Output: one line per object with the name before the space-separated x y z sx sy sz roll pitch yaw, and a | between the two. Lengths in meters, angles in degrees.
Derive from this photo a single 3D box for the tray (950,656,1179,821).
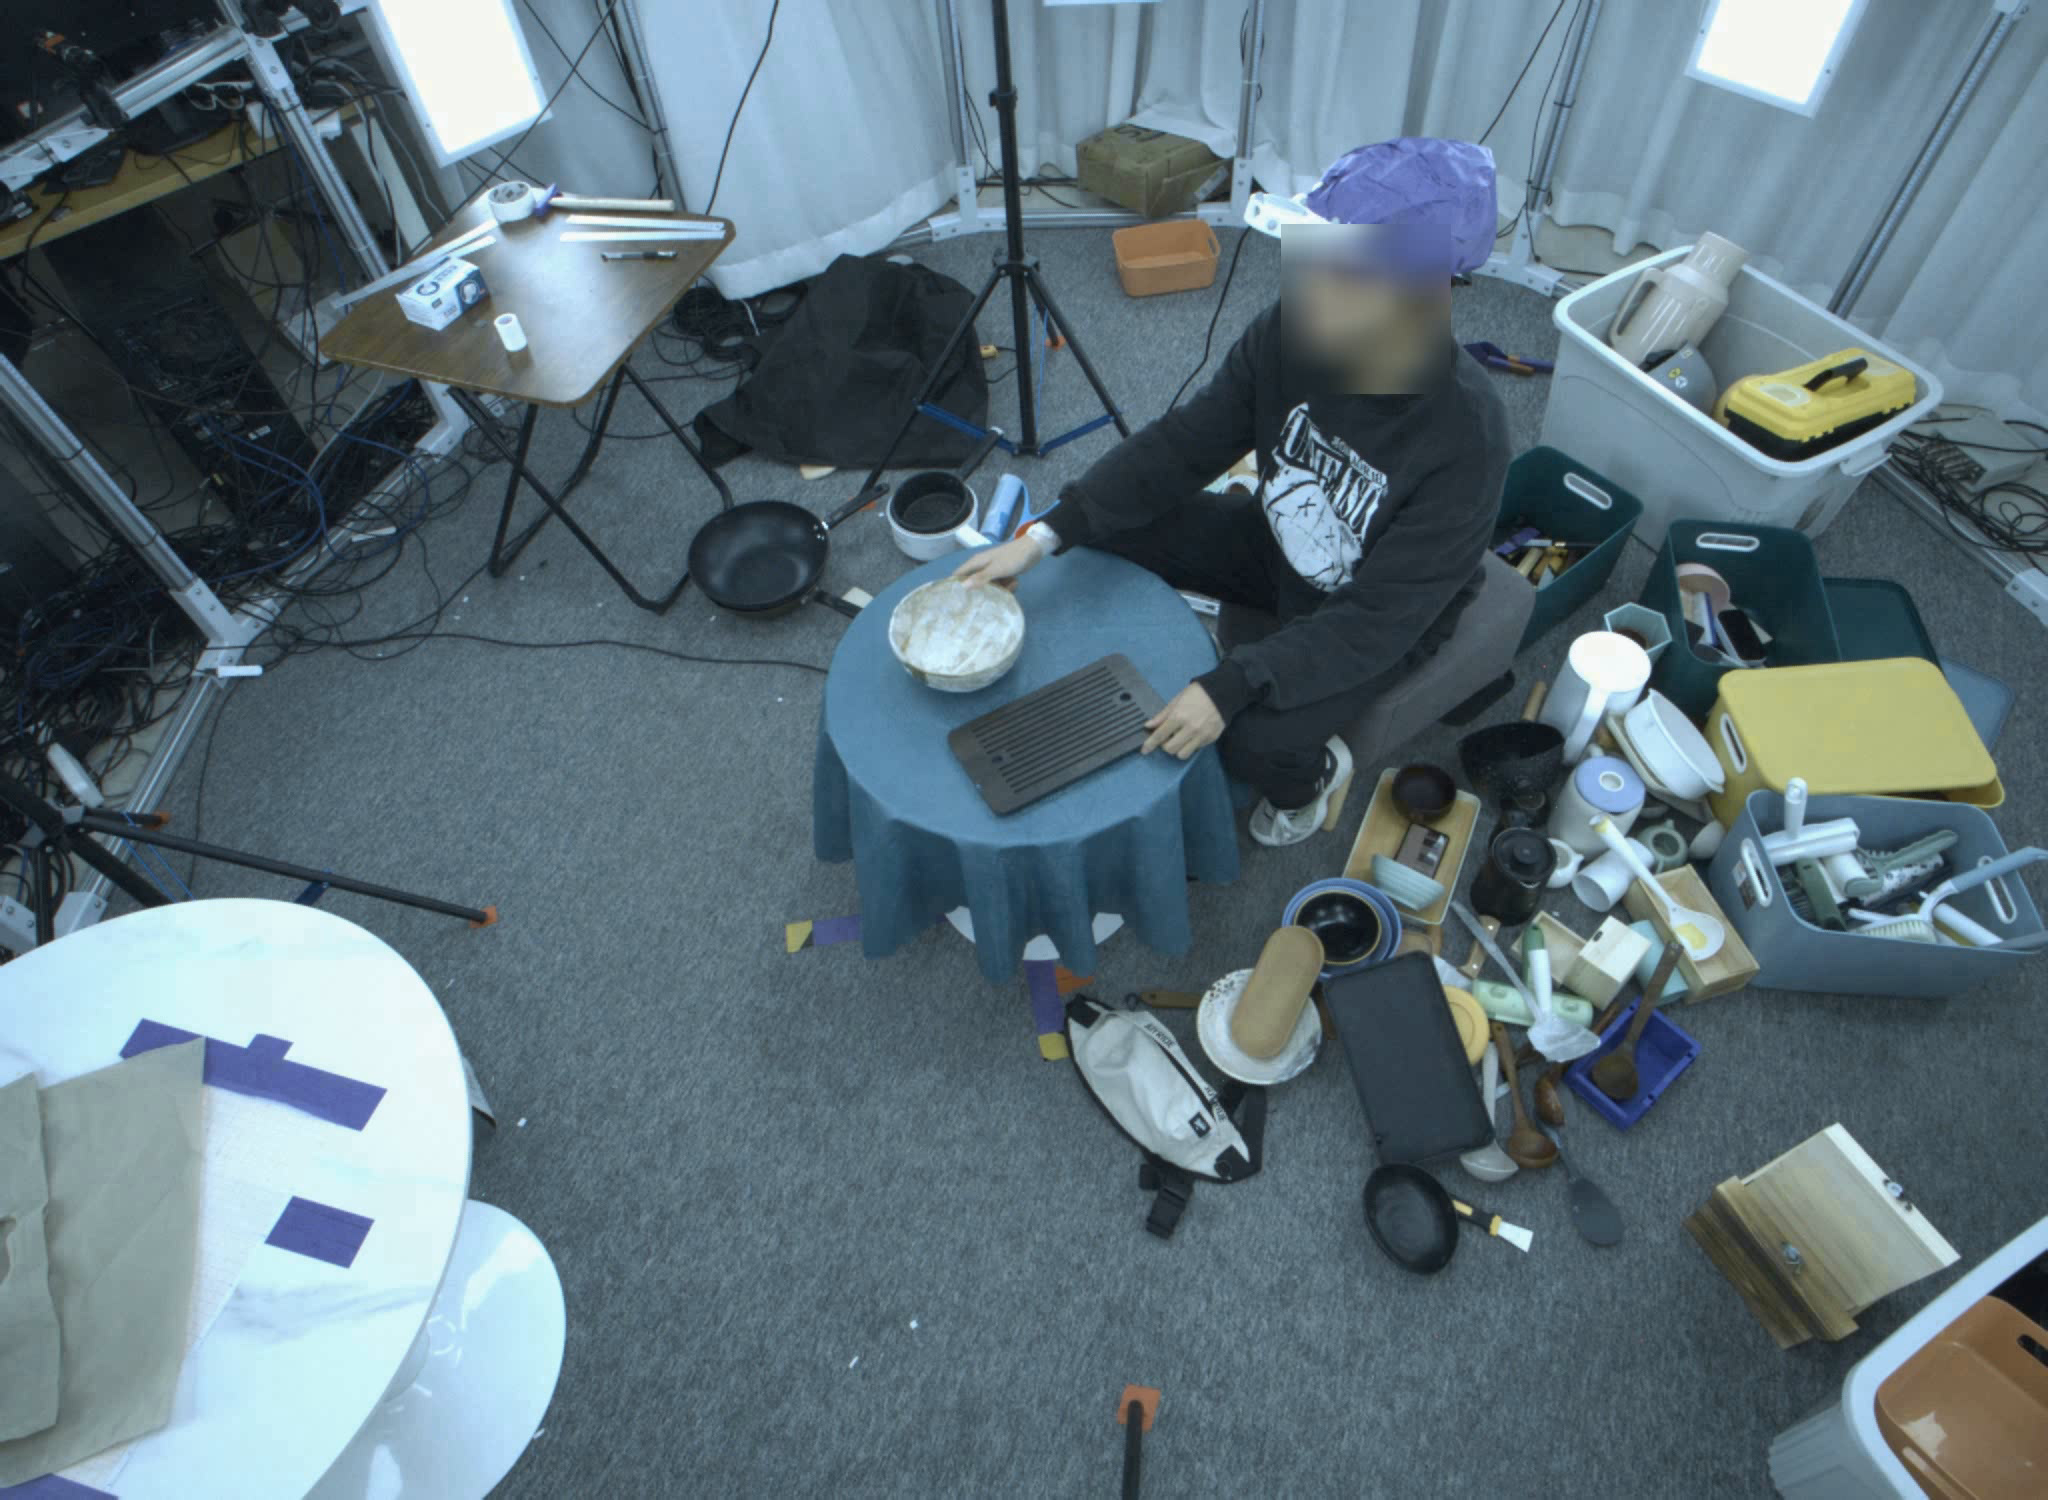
tray | 0.059 -0.020 1.799 0.308 0.019 0.167 -26 58 -16

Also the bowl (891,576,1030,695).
bowl | -0.091 -0.154 1.851 0.214 0.095 0.212 -1 54 2
